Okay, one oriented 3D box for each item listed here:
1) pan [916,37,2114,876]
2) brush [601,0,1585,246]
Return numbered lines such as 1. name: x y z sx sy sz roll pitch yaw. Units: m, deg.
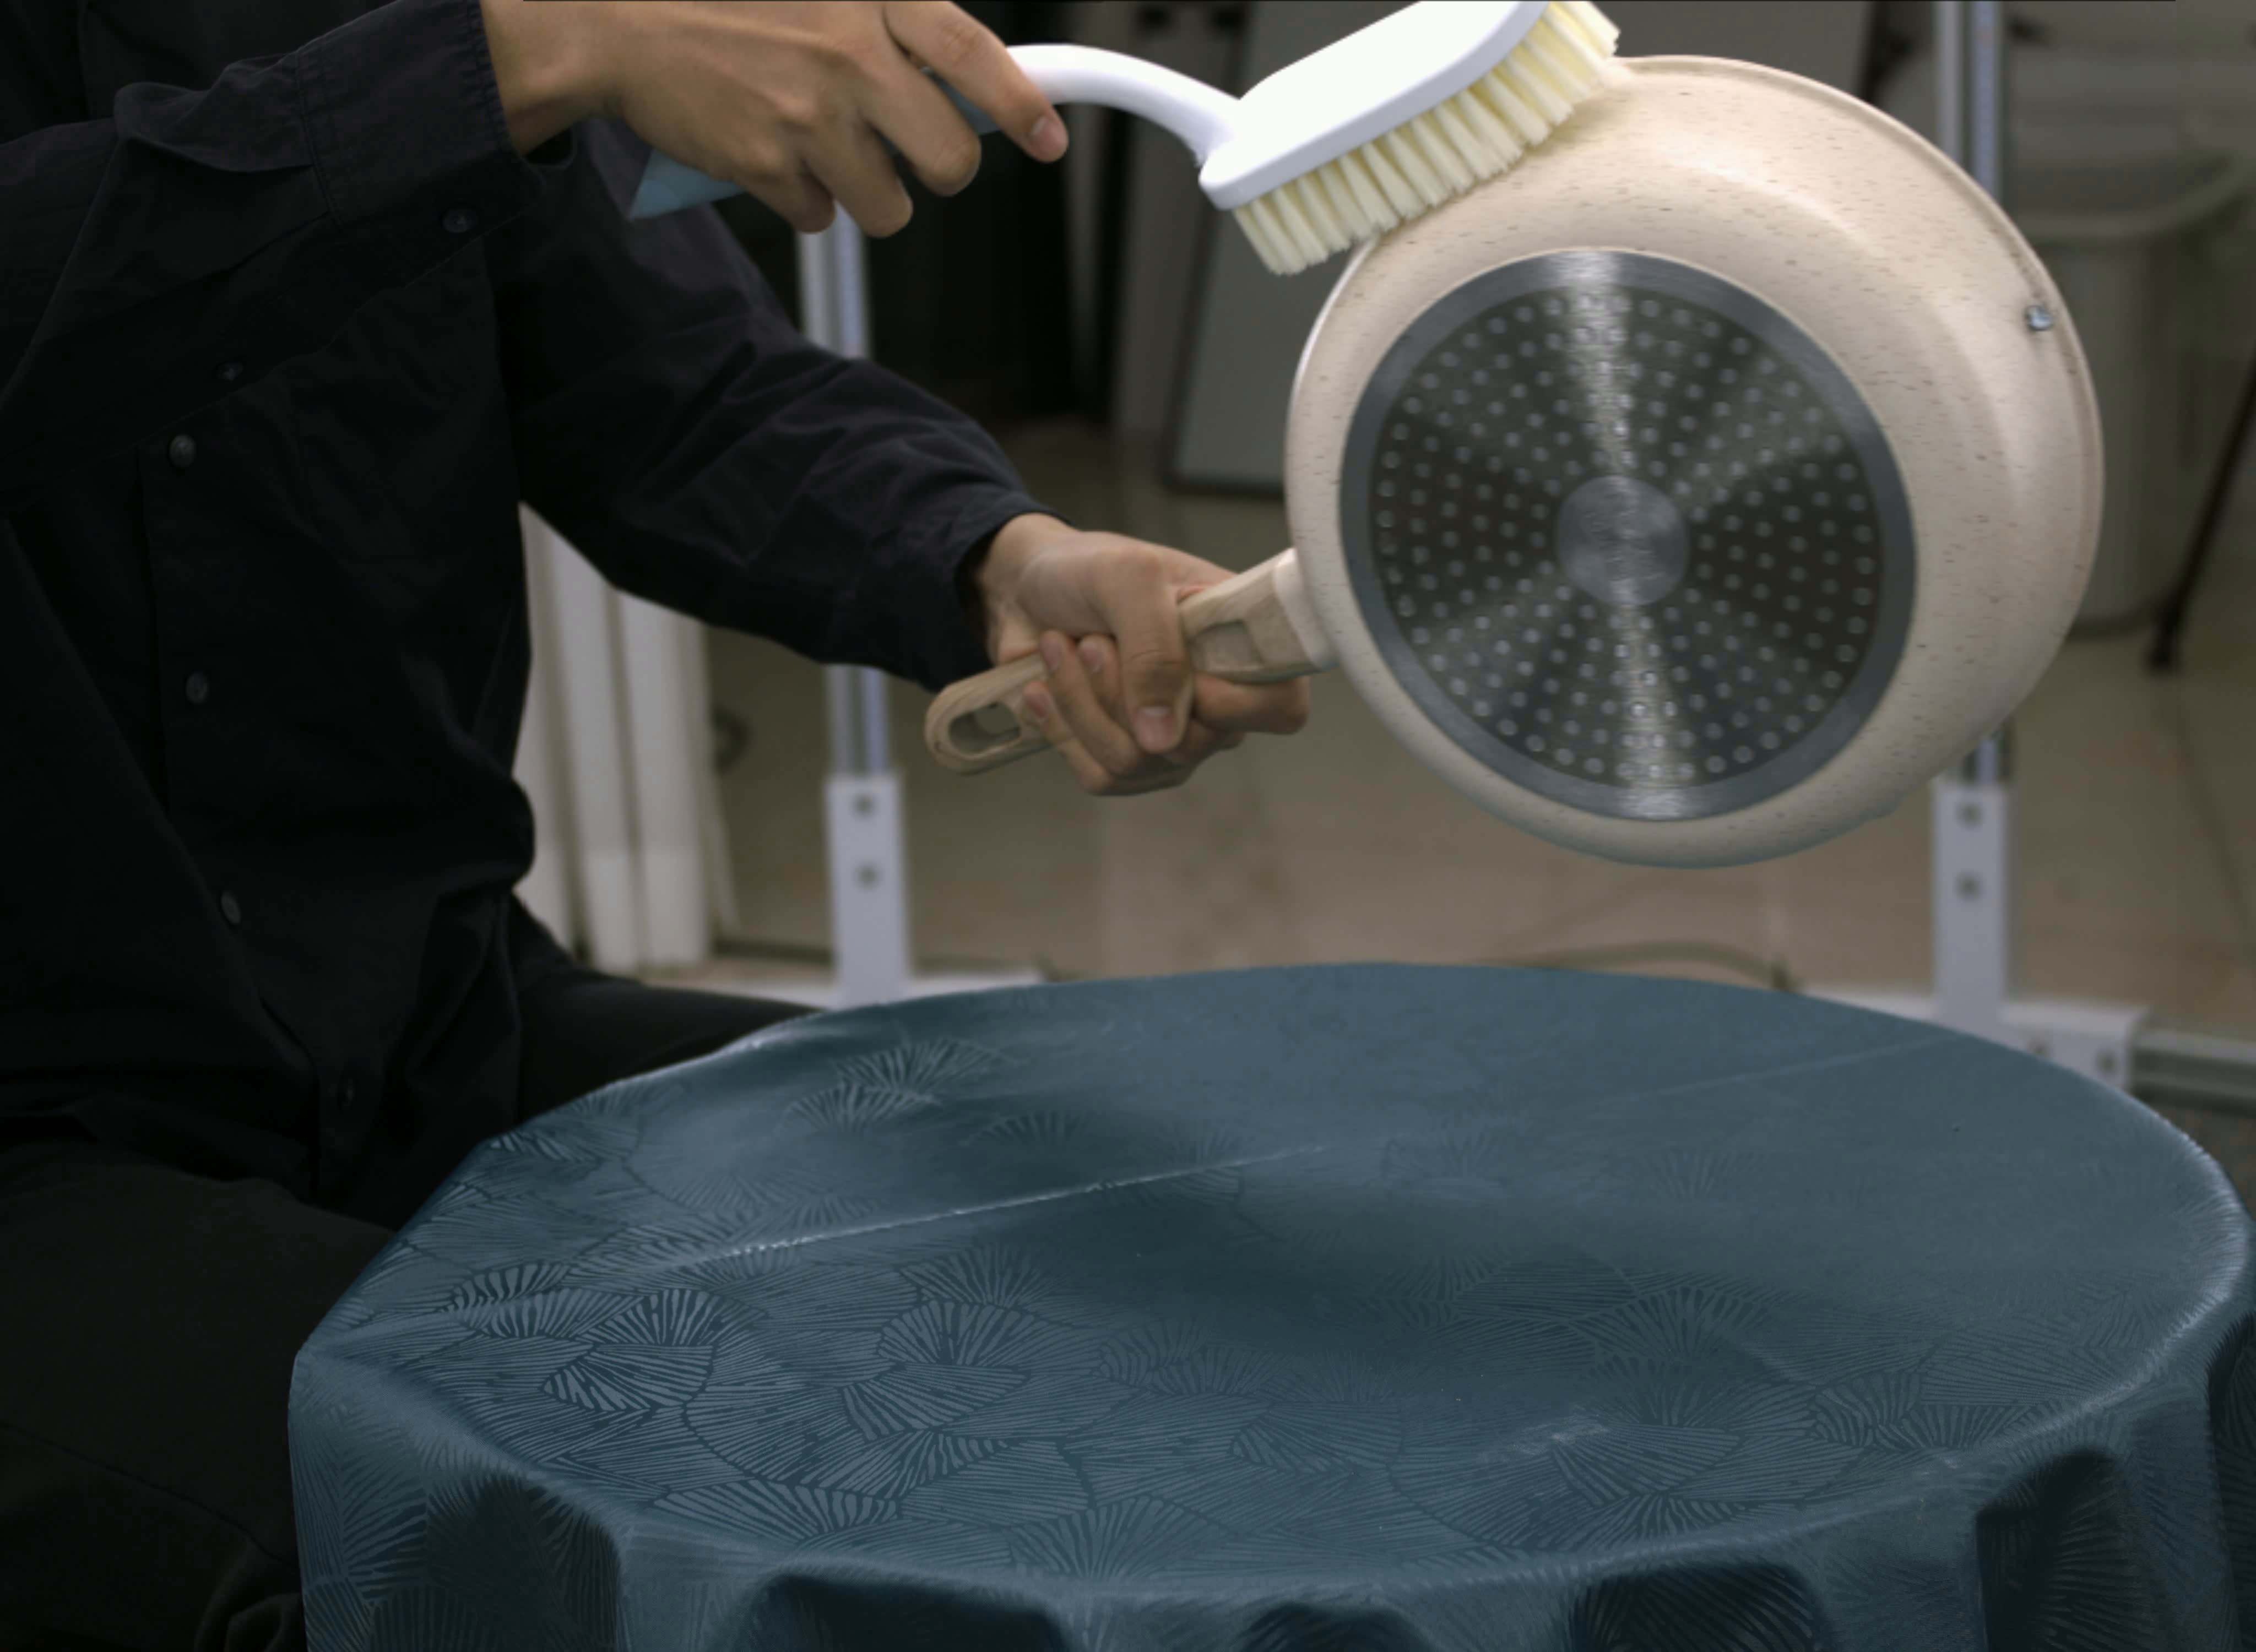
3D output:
1. pan: 0.093 -0.076 1.670 0.437 0.264 0.101 -21 14 32
2. brush: -0.009 -0.204 1.644 0.326 0.085 0.082 -11 -8 26
